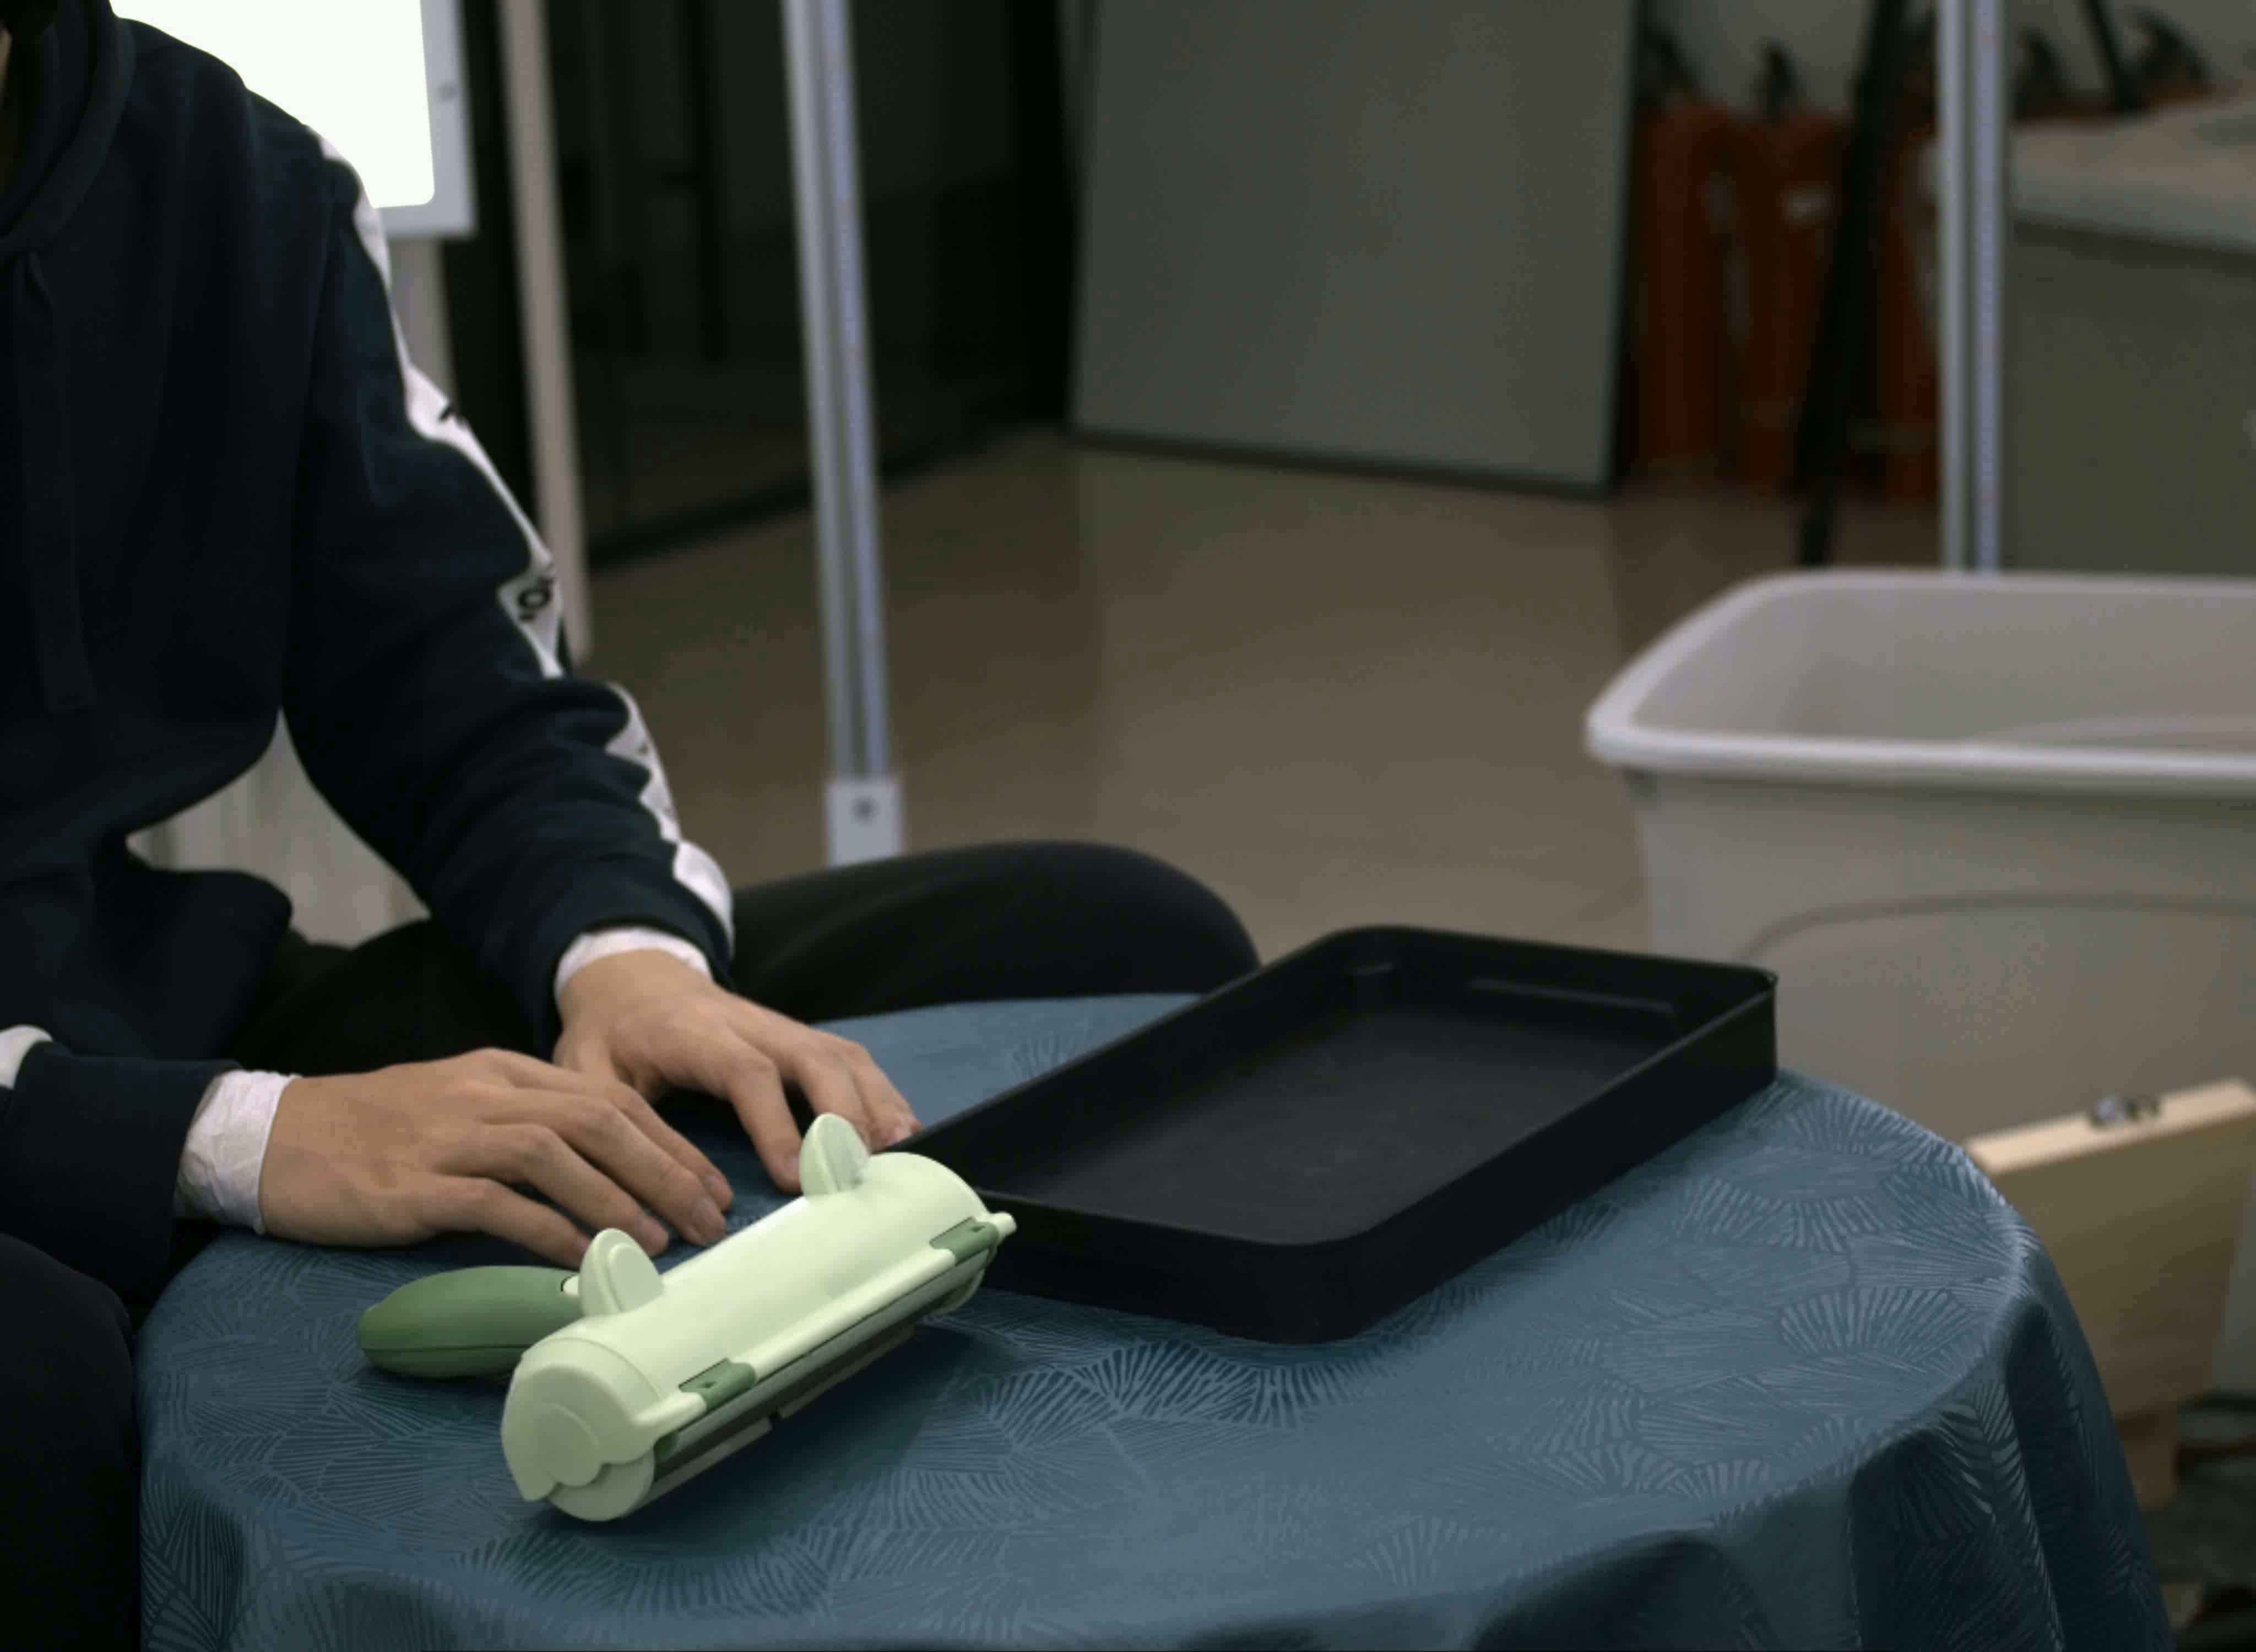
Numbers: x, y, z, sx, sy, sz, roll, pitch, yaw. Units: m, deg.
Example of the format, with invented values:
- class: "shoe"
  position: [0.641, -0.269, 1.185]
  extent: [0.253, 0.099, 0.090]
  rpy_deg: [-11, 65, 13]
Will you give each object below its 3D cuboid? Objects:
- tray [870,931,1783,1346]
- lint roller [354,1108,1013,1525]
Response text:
- class: "tray"
  position: [0.071, 0.097, 1.774]
  extent: [0.185, 0.037, 0.312]
  rpy_deg: [6, 17, 35]
- class: "lint roller"
  position: [-0.156, 0.133, 1.601]
  extent: [0.184, 0.083, 0.195]
  rpy_deg: [8, 18, 30]
